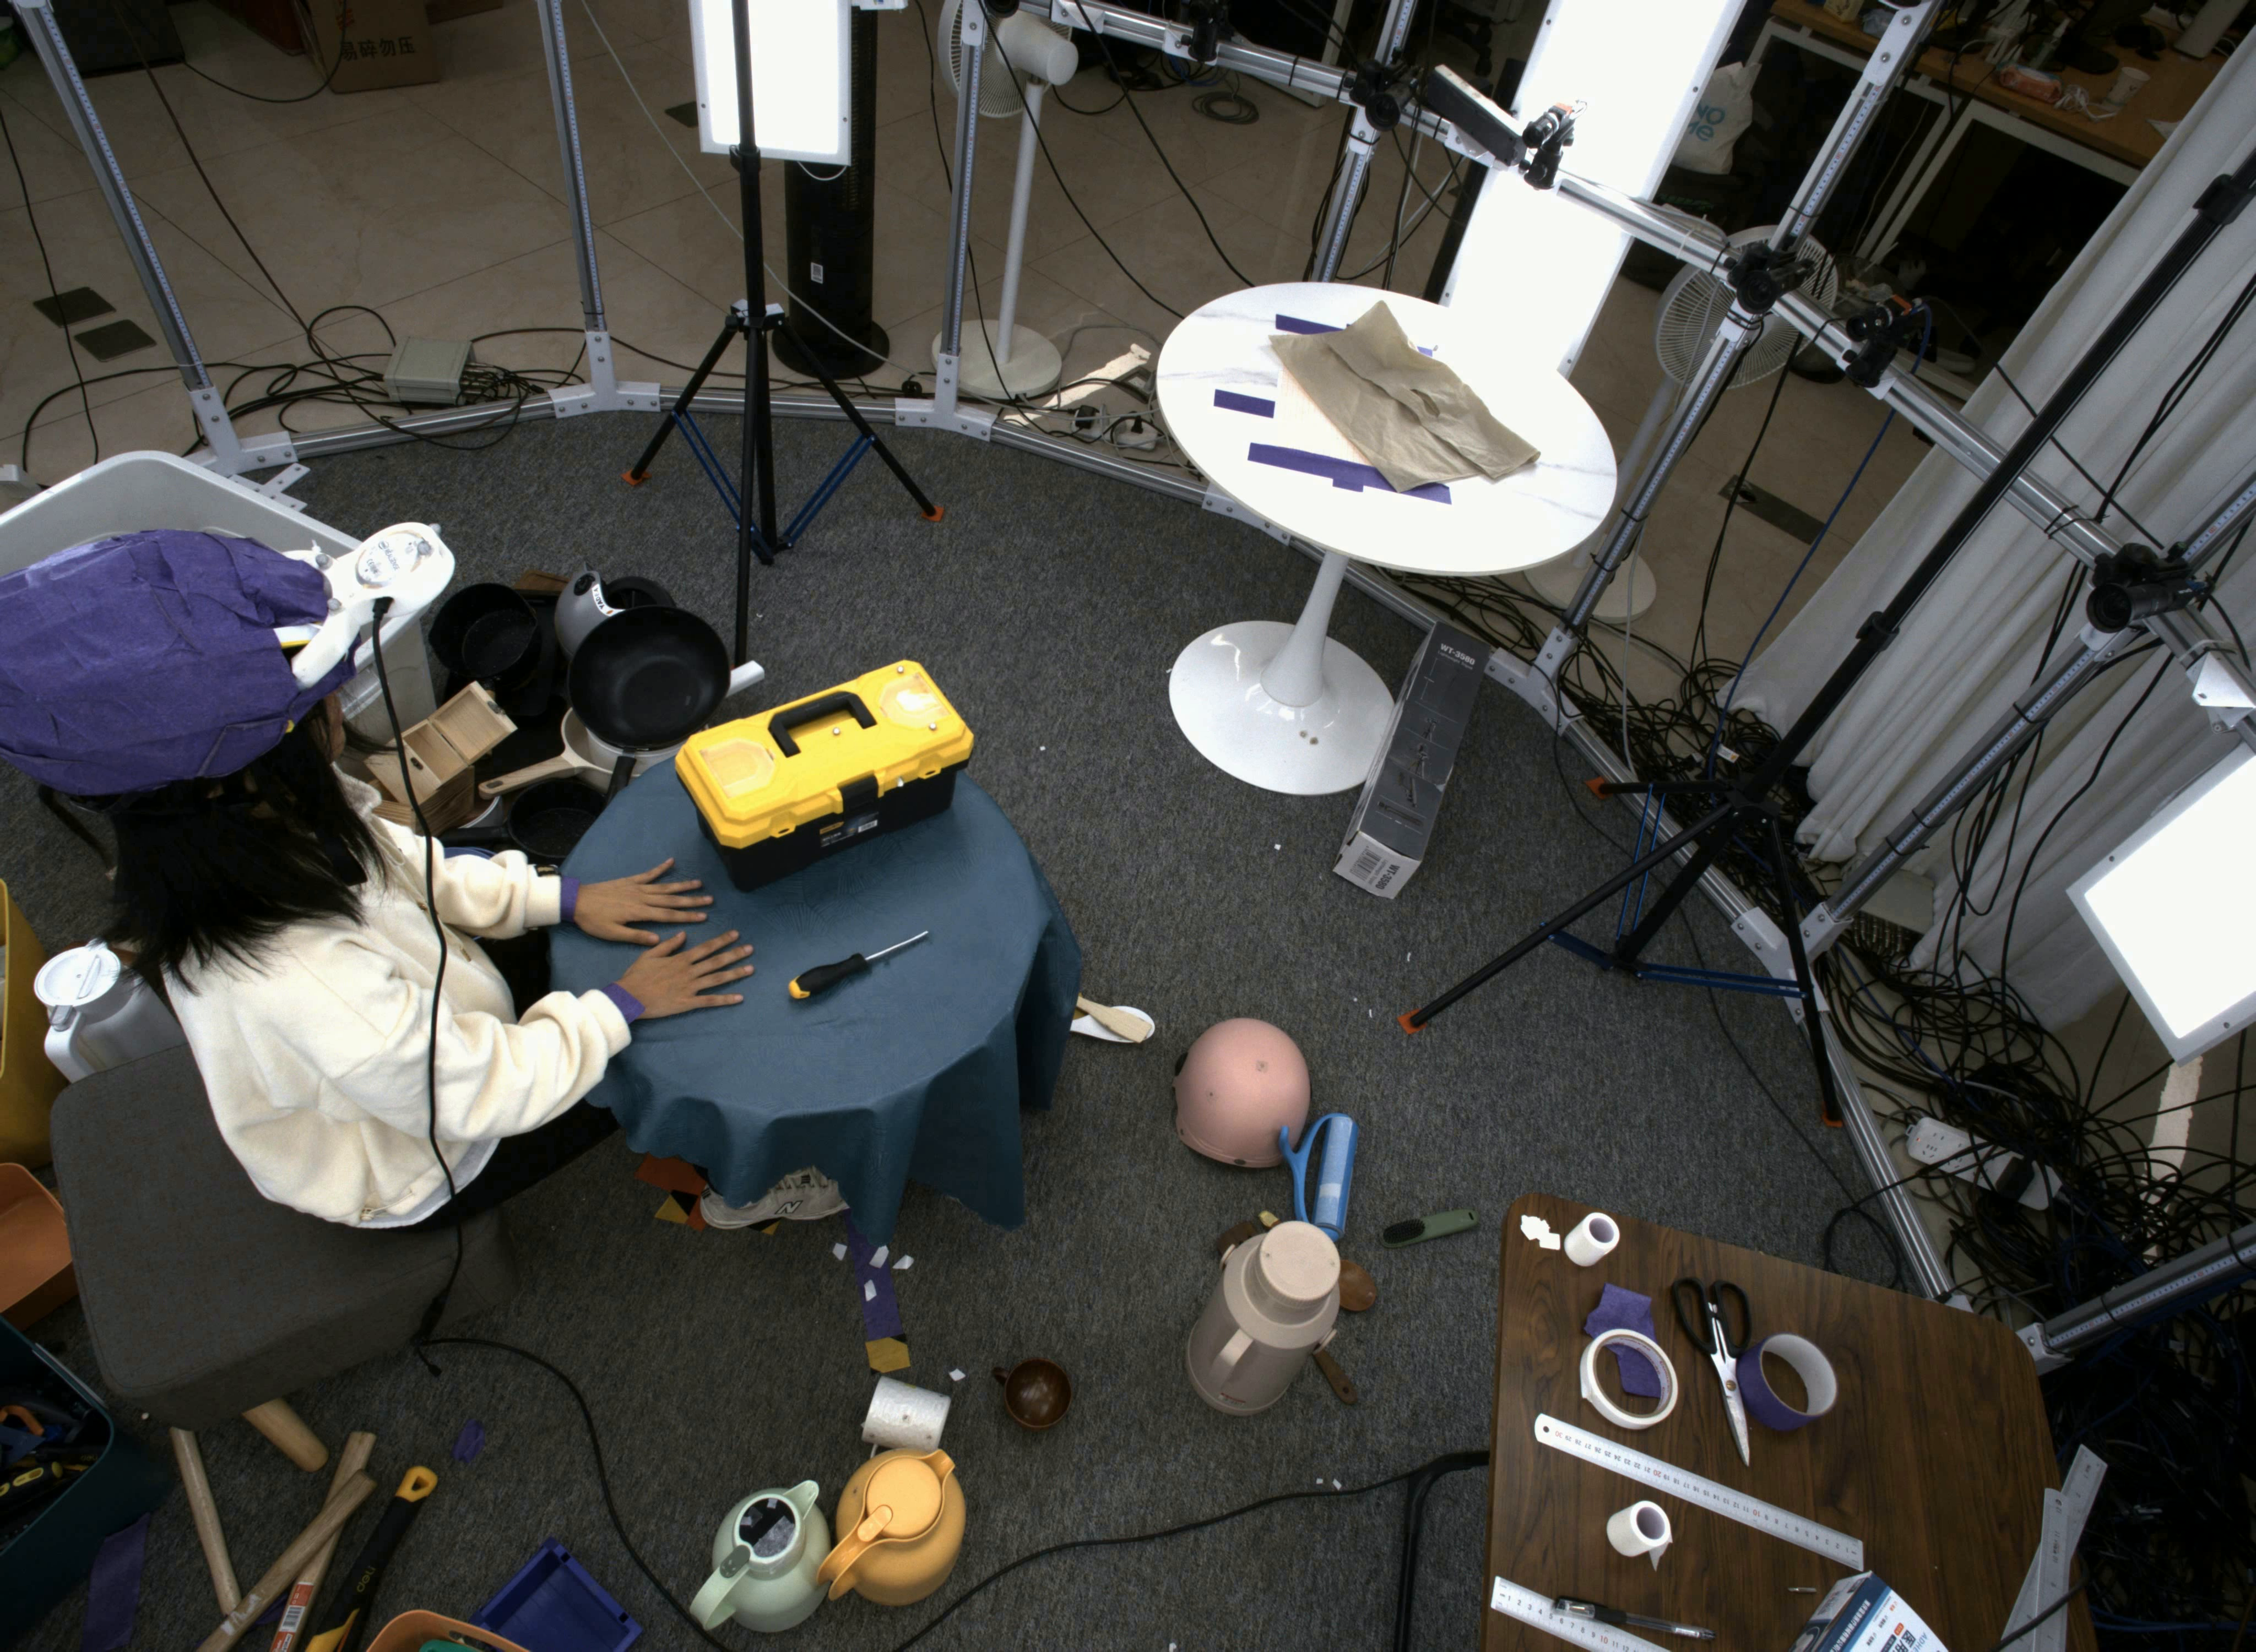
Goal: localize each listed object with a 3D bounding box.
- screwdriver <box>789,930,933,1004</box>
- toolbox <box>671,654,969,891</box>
[{"bbox_3d":[-0.328,0.170,1.611,0.199,0.032,0.030,-22,60,-33],"label":"screwdriver"},{"bbox_3d":[-0.389,-0.068,1.667,0.353,0.176,0.177,-25,62,-29],"label":"toolbox"}]
